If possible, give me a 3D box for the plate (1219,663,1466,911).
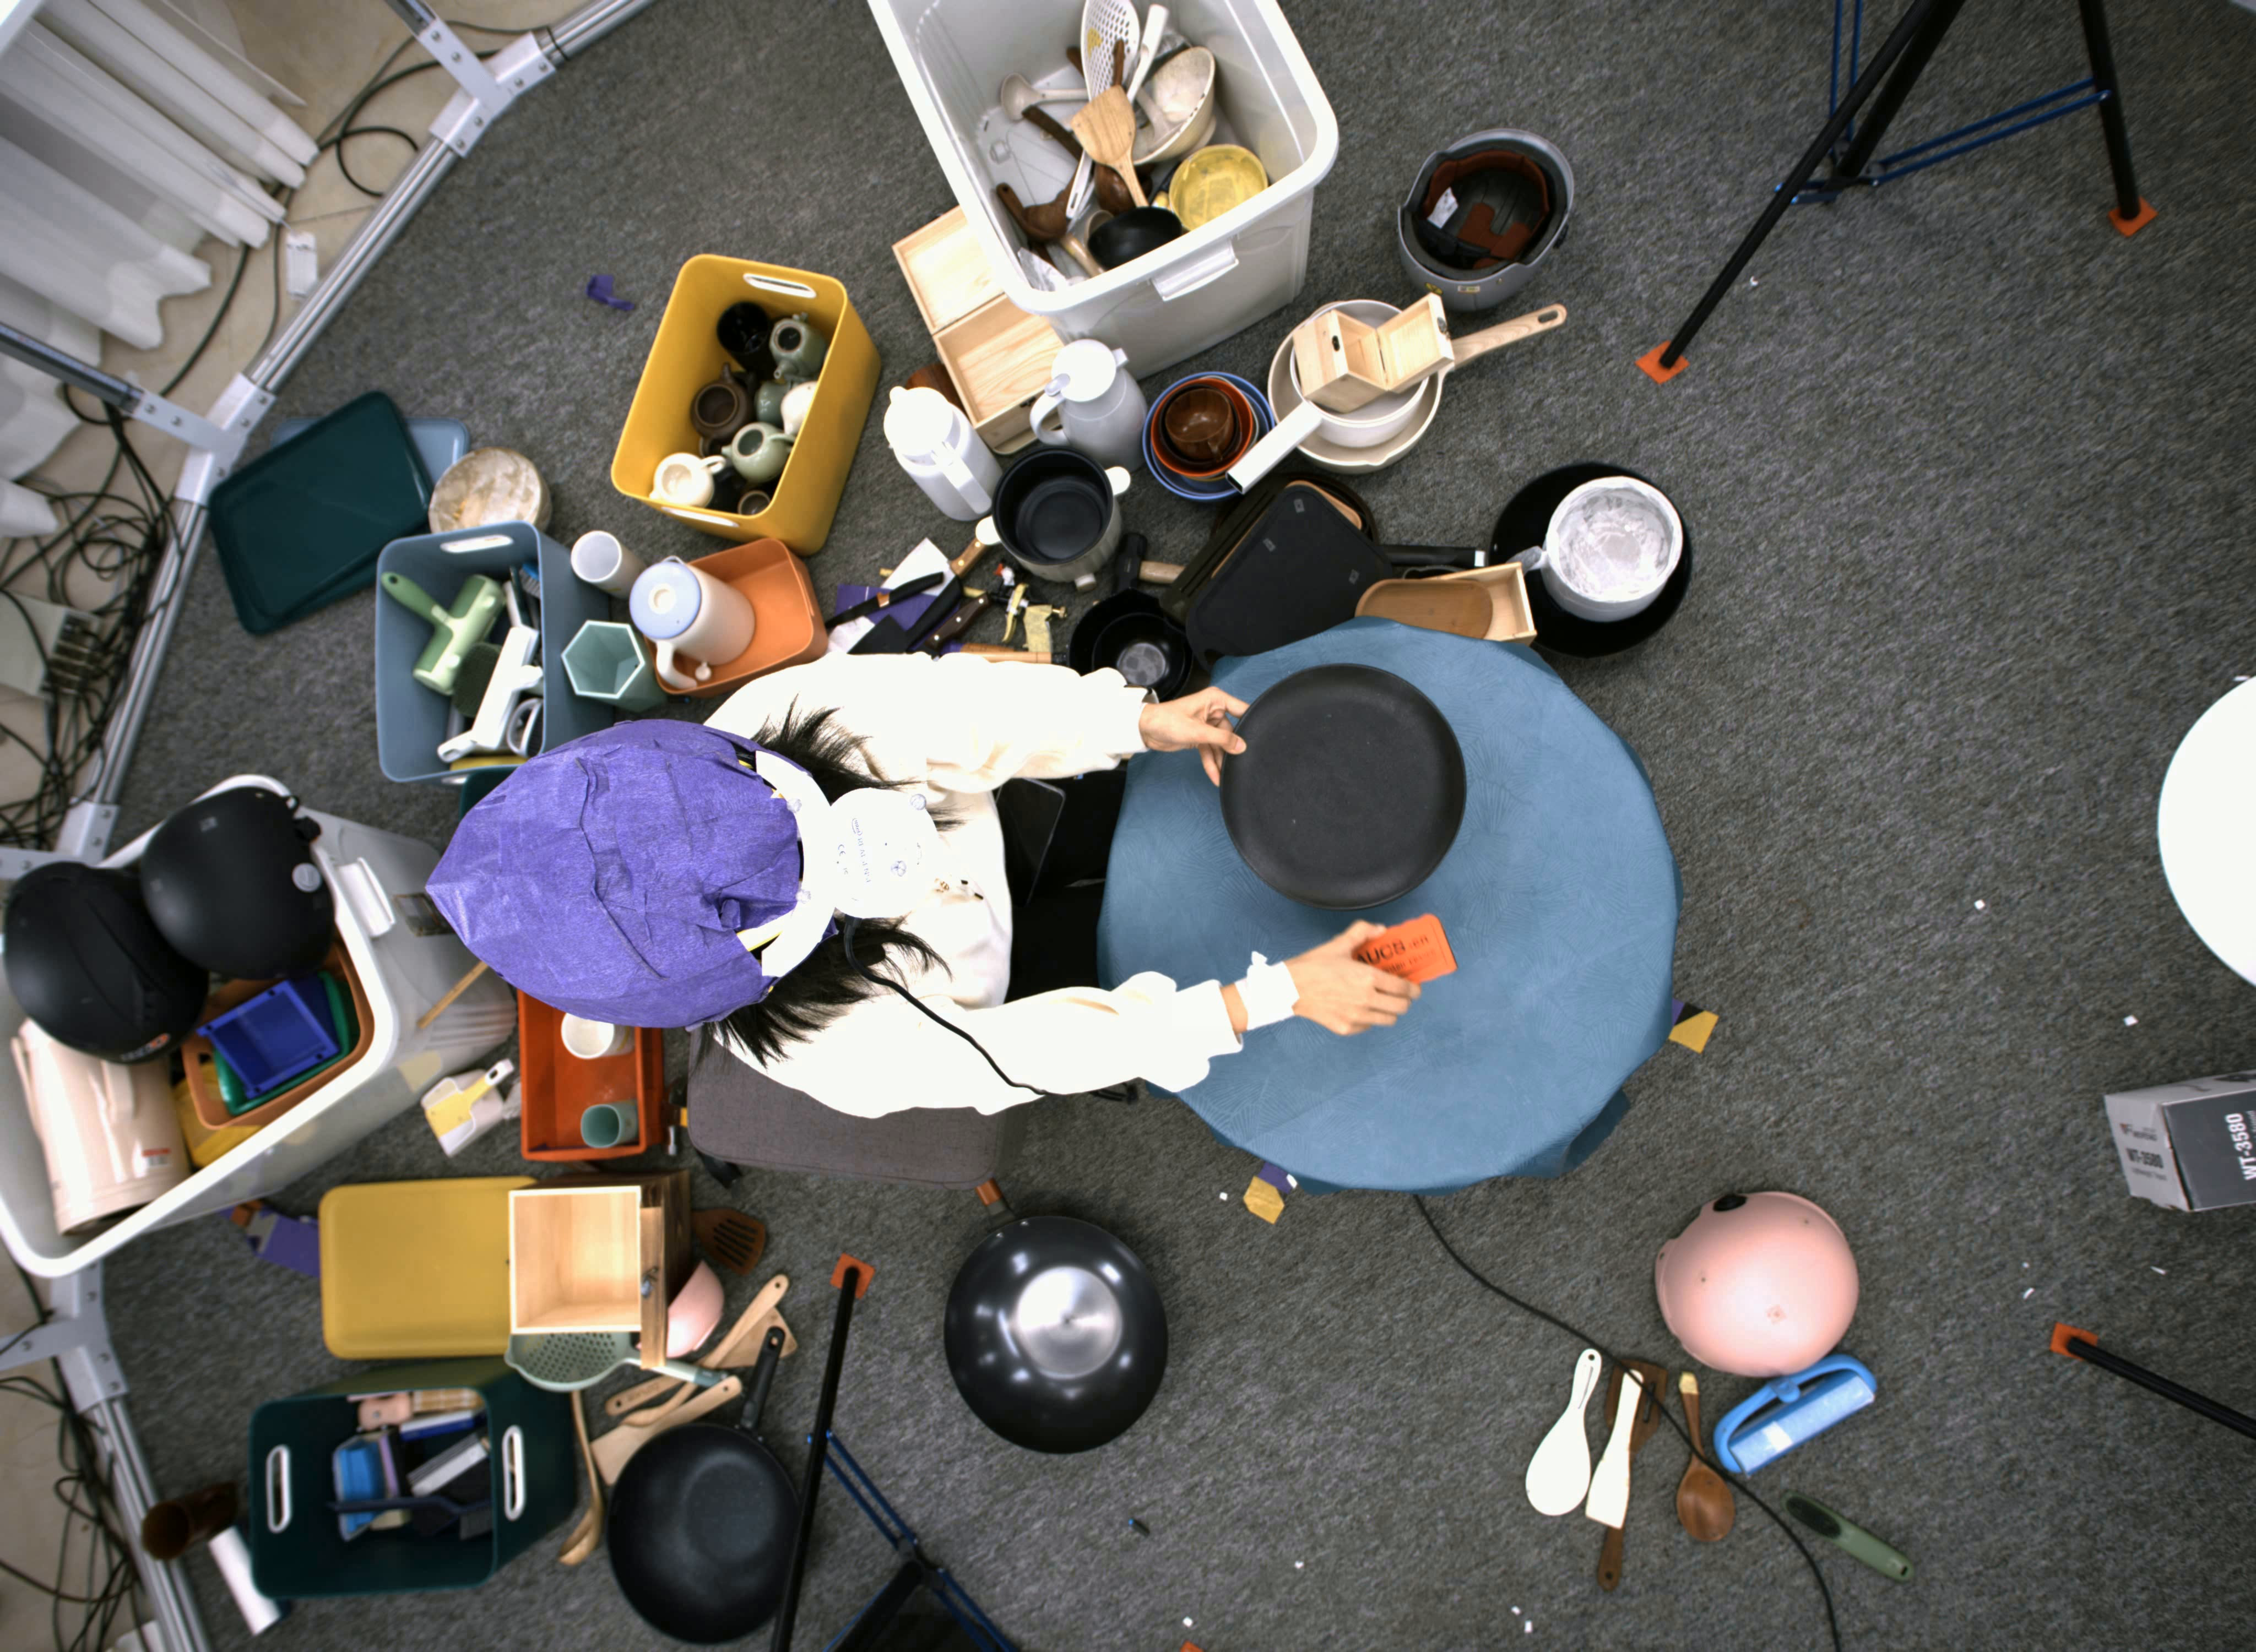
[{"bbox_3d":[0.210,-0.039,1.358,0.245,0.023,0.245,2,97,18],"label":"plate"}]

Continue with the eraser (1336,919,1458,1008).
[{"bbox_3d":[0.257,0.131,1.326,0.109,0.023,0.058,-22,81,17],"label":"eraser"}]
